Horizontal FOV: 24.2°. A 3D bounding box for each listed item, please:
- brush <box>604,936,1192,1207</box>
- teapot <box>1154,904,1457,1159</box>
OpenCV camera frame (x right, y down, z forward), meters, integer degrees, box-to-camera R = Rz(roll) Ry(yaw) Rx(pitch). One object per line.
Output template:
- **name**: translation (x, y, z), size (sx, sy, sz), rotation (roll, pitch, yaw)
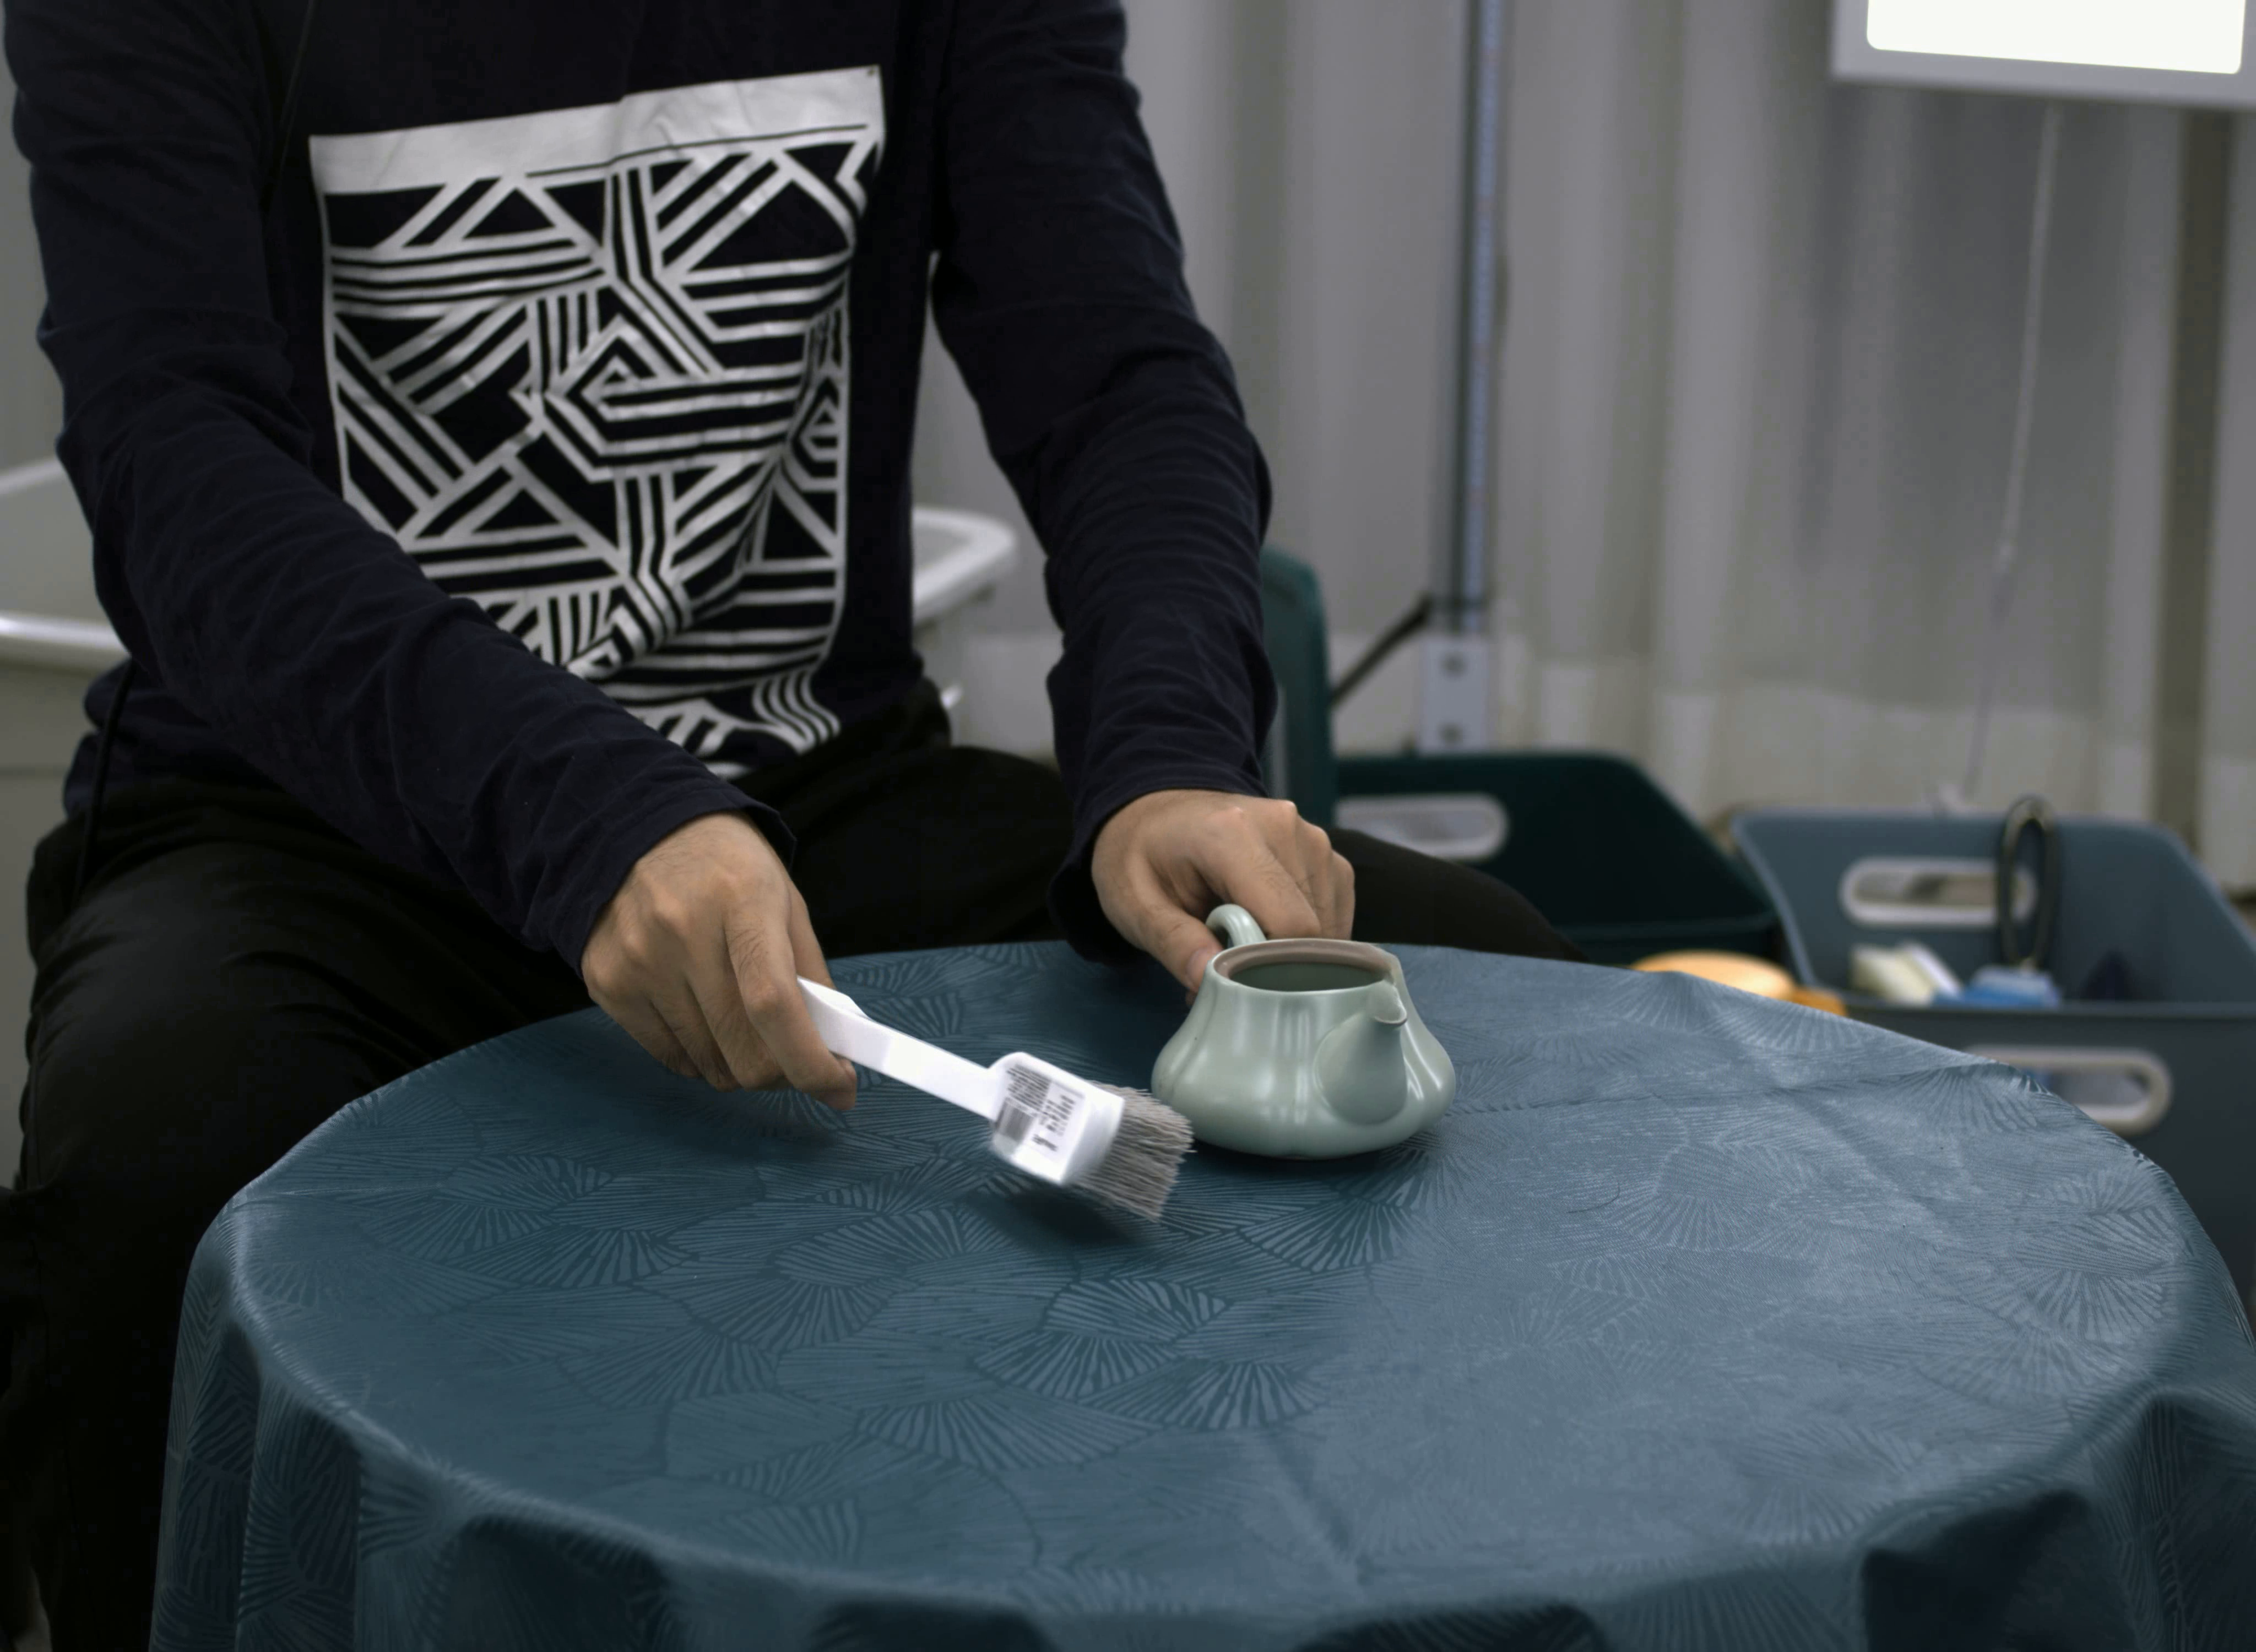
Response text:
- **brush**: translation (-0.073, 0.074, 1.651), size (0.240, 0.034, 0.051), rotation (17, 0, 43)
- **teapot**: translation (0.054, 0.068, 1.676), size (0.096, 0.062, 0.135), rotation (-10, 20, -25)
